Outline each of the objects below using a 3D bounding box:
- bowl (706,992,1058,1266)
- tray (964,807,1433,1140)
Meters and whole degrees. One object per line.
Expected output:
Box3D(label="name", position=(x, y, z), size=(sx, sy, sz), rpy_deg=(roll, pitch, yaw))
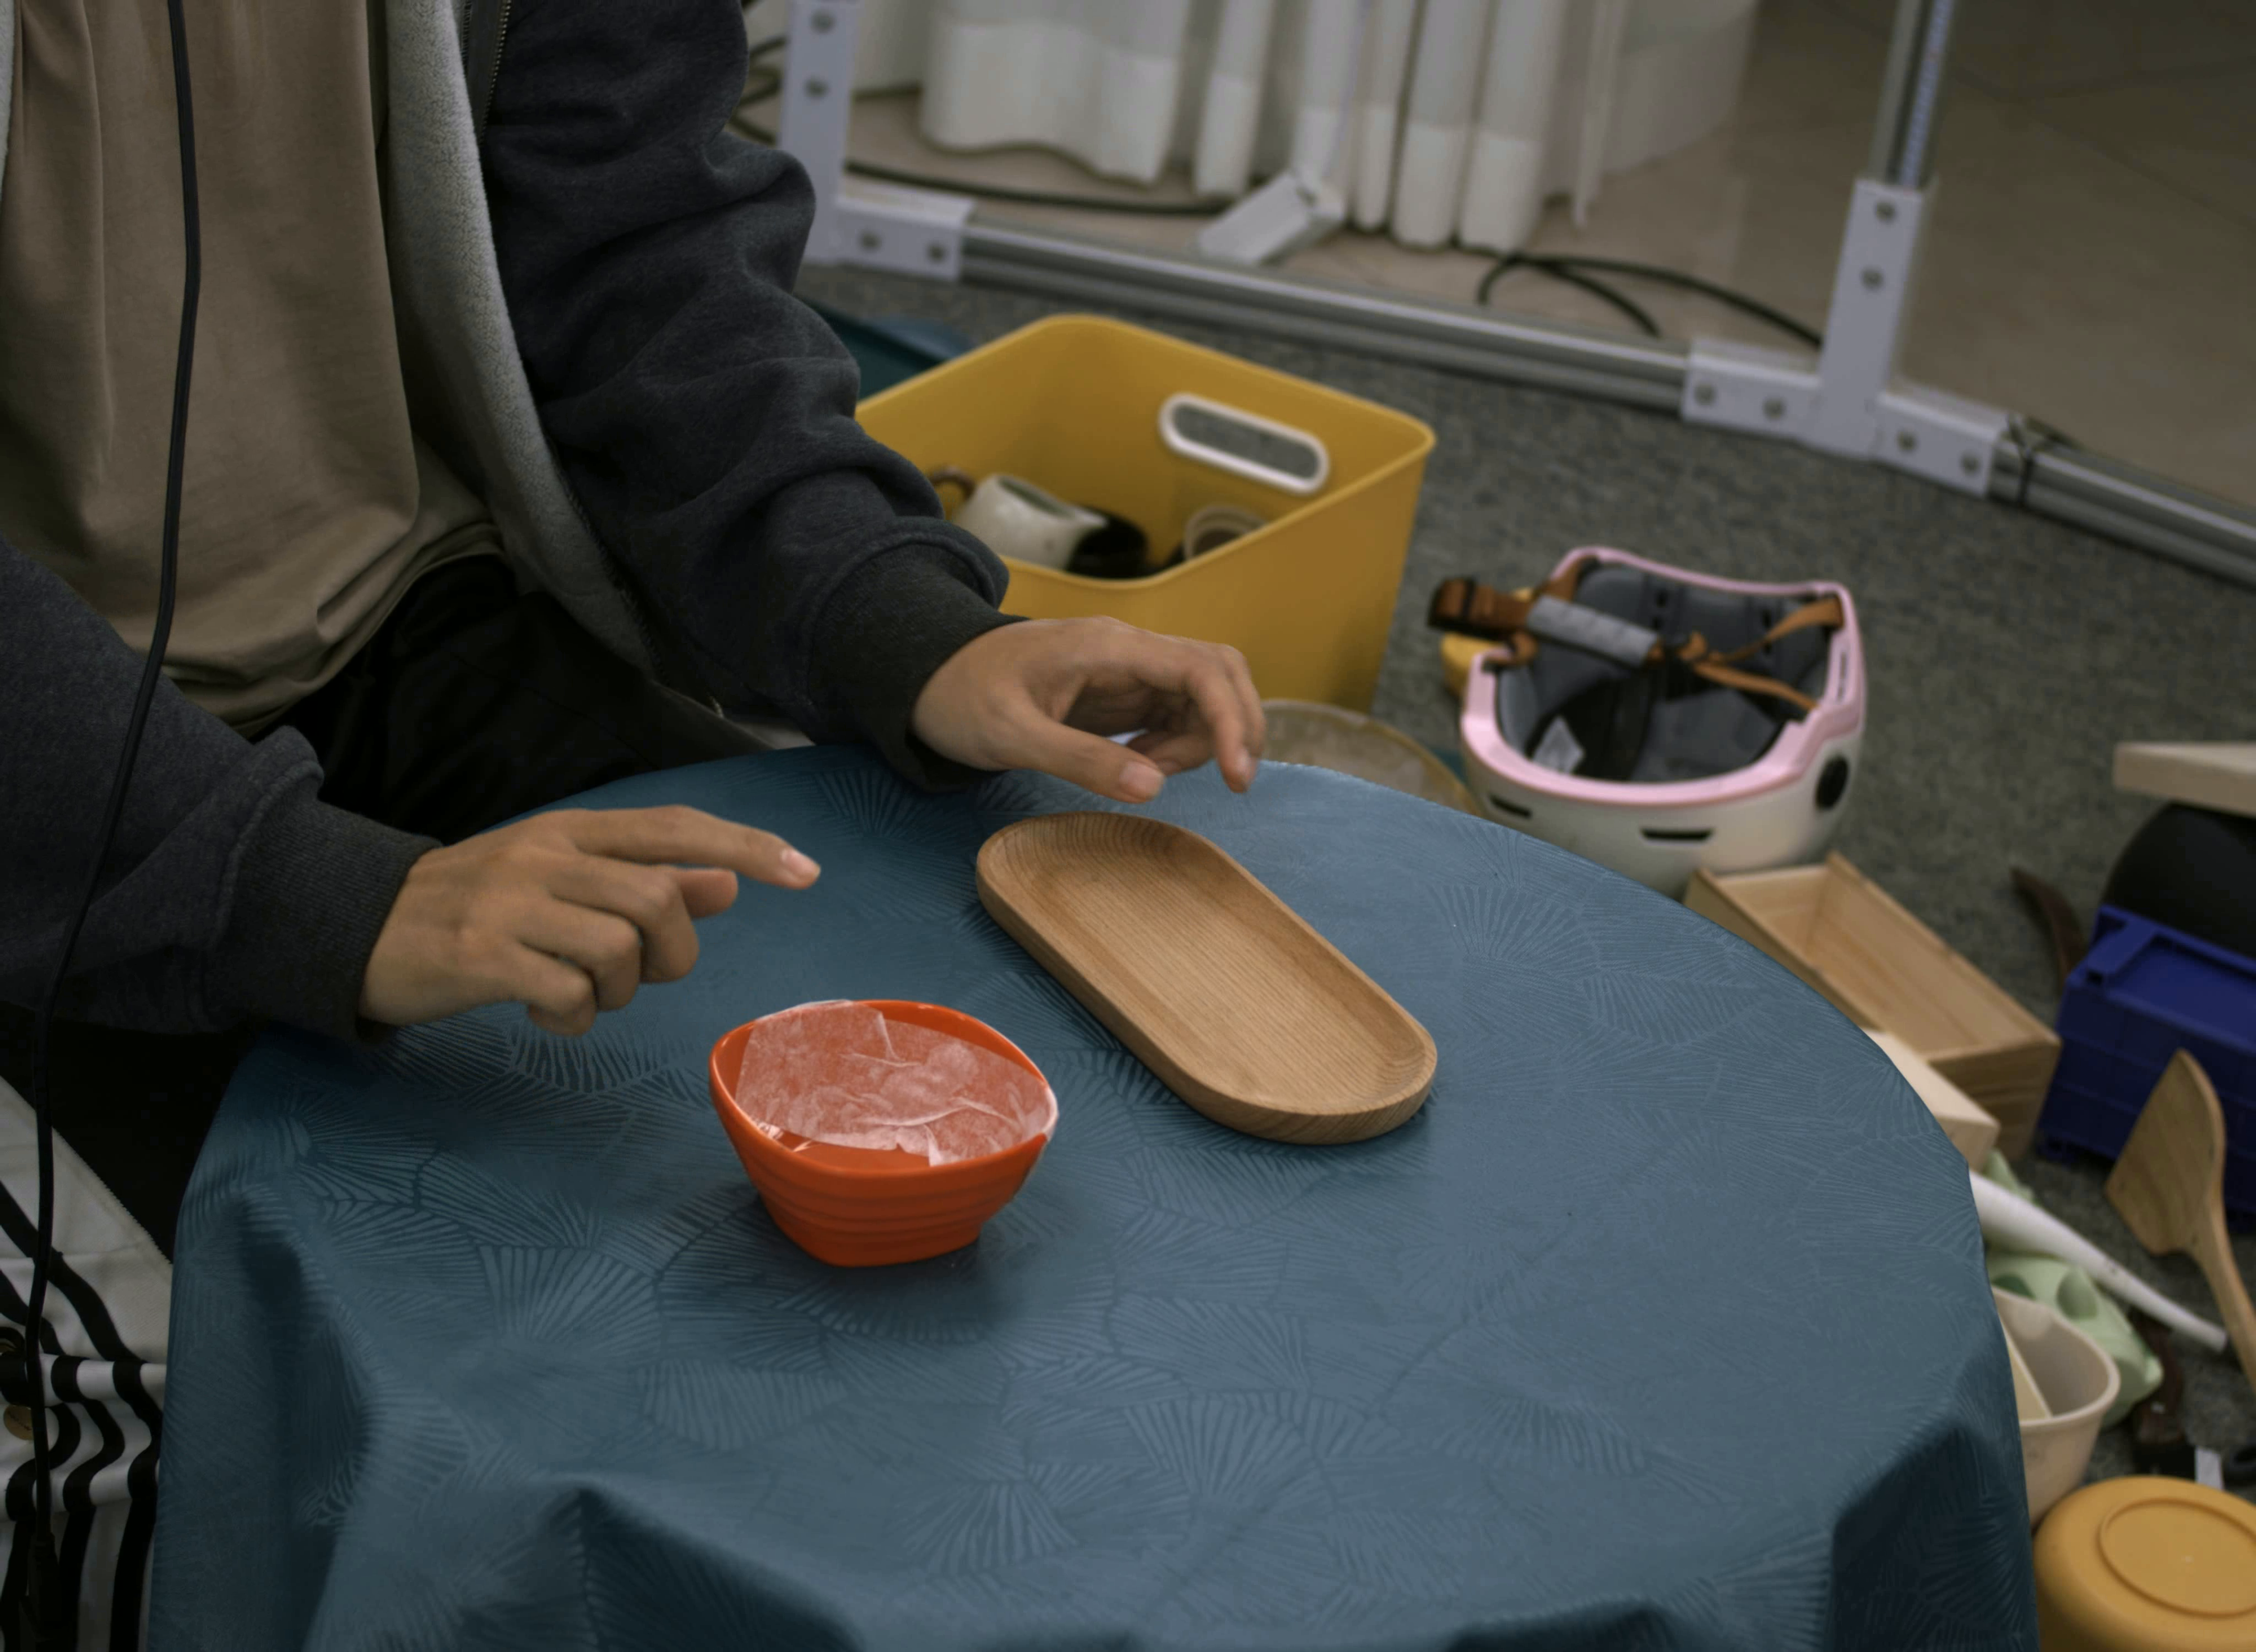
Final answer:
Box3D(label="bowl", position=(-0.083, 0.105, 1.761), size=(0.118, 0.051, 0.119), rpy_deg=(5, 28, -3))
Box3D(label="tray", position=(0.023, 0.052, 1.930), size=(0.101, 0.020, 0.233), rpy_deg=(-10, 30, -31))
